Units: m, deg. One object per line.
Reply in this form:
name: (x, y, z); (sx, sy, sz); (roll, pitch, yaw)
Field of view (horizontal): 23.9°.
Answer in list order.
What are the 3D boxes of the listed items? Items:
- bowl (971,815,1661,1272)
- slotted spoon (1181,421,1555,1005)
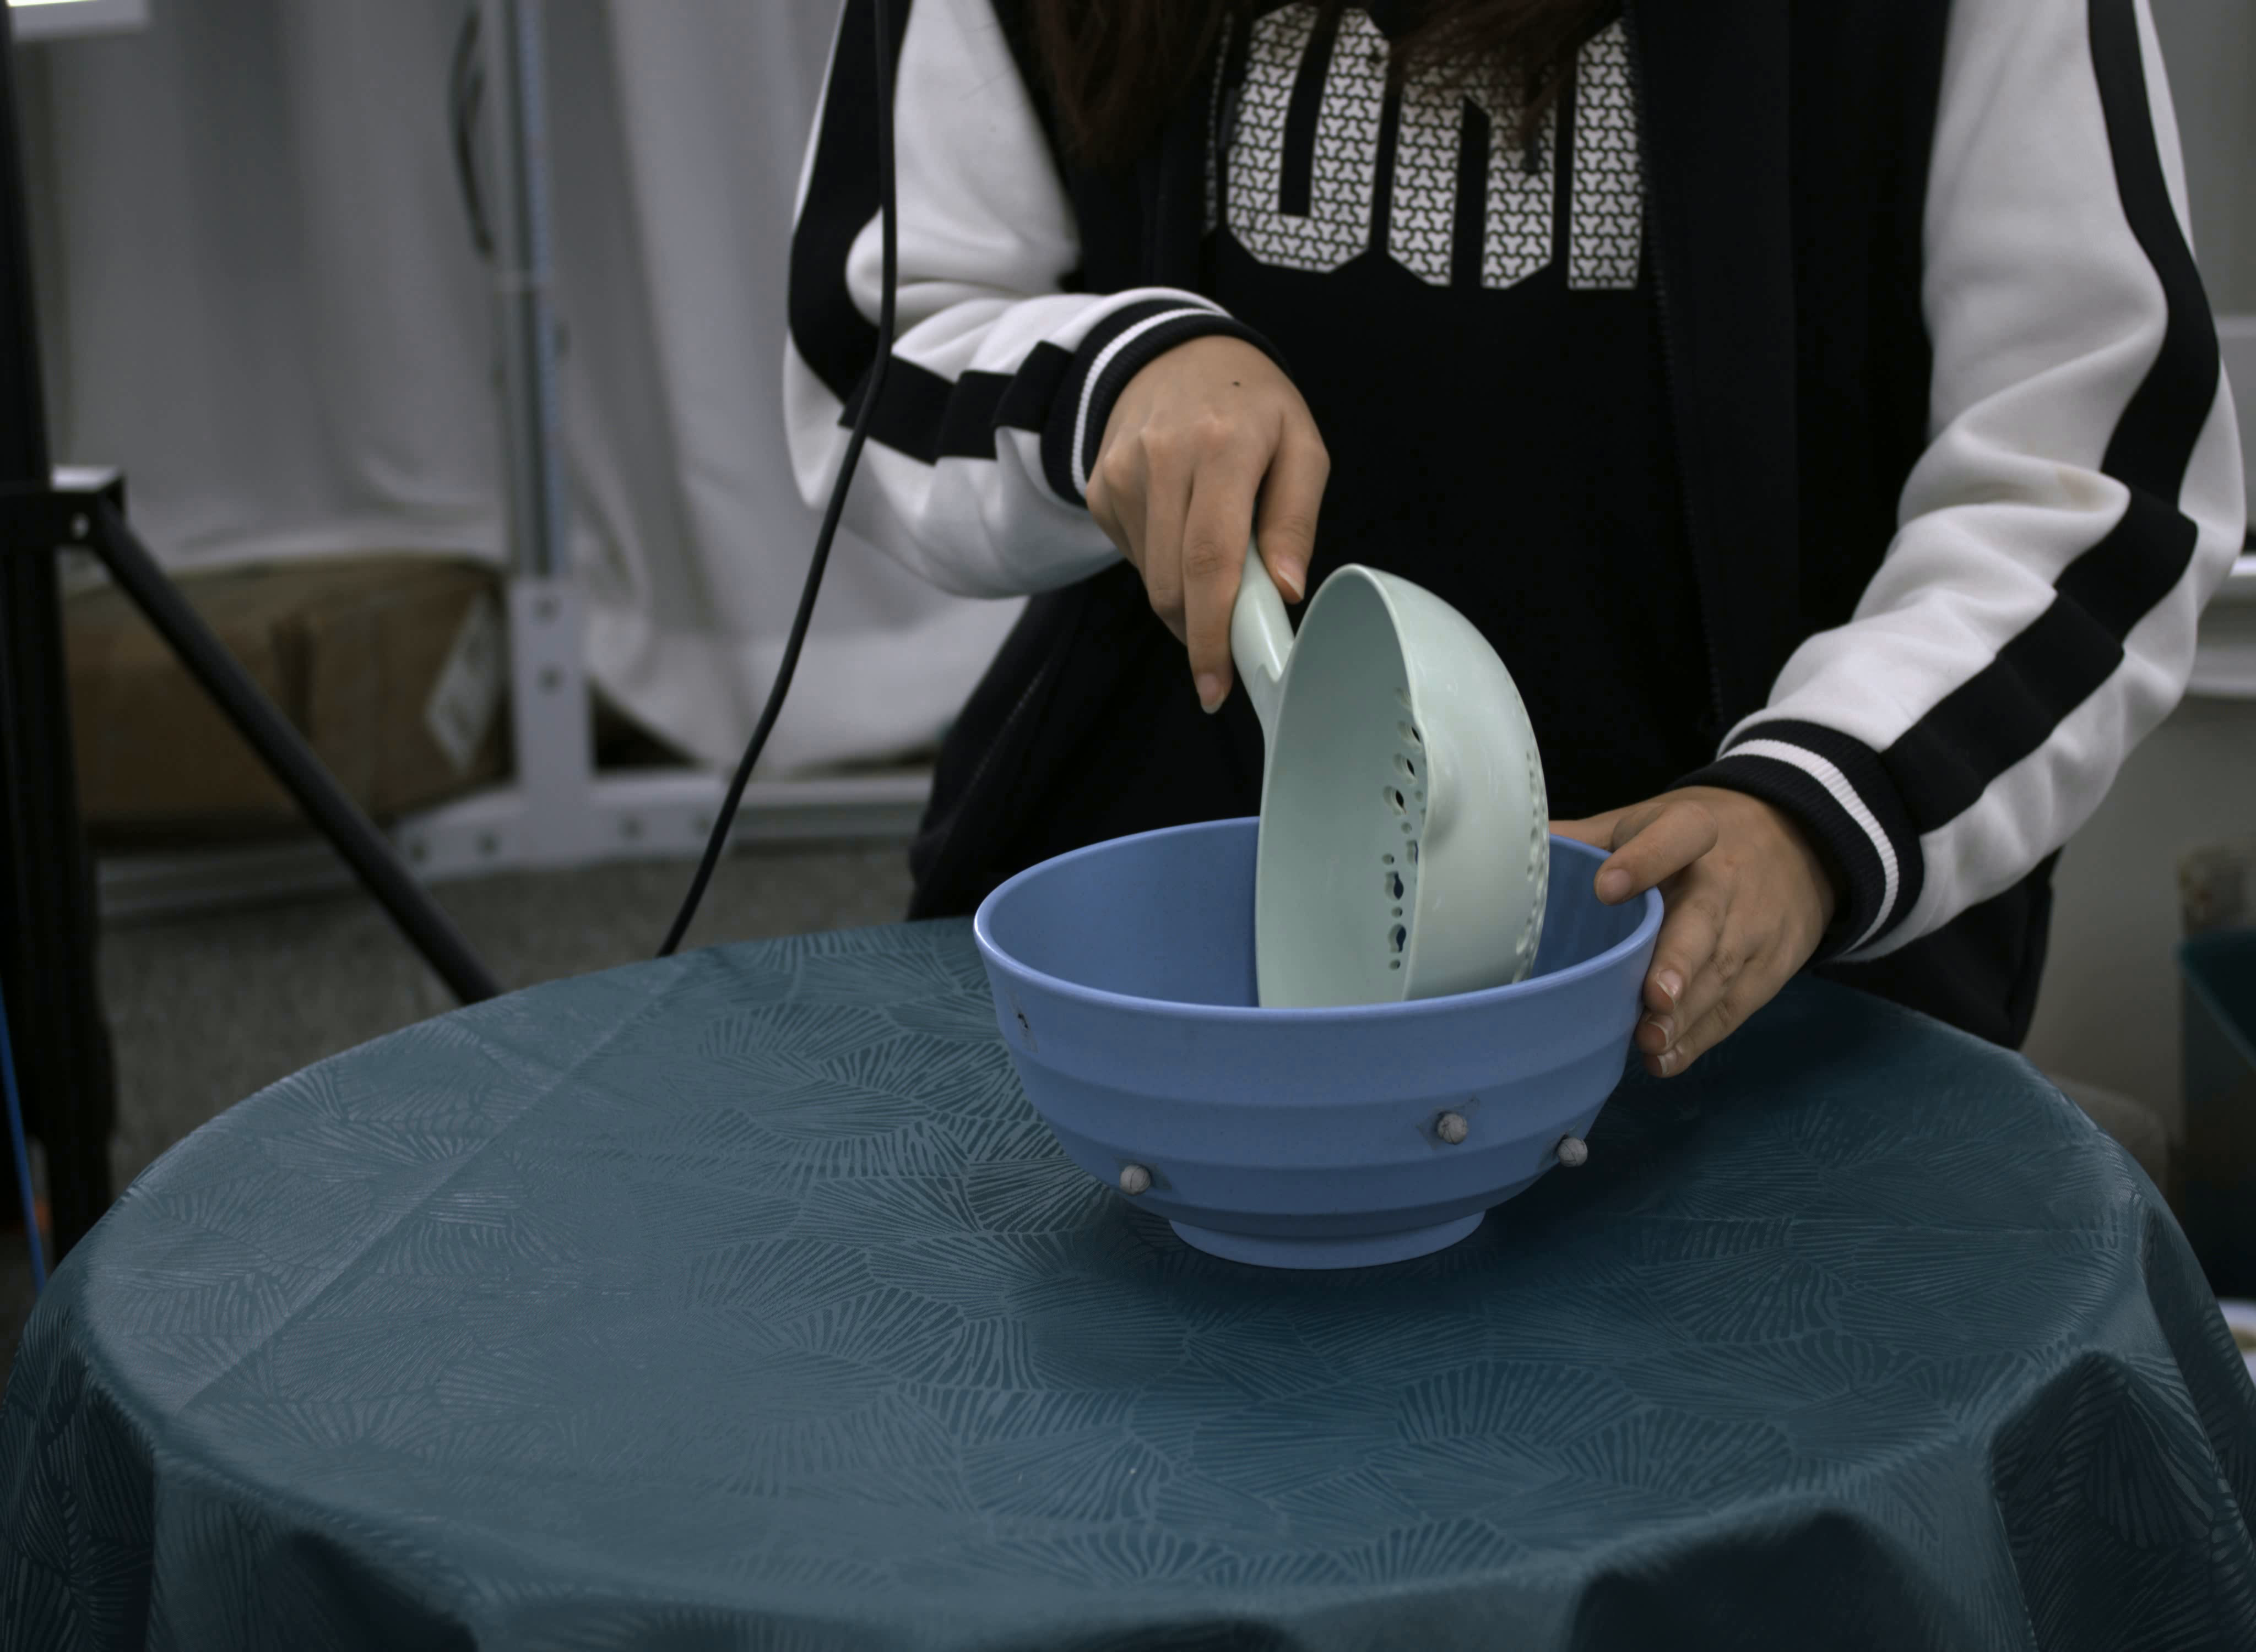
bowl: (0.055, 0.067, 1.517); (0.195, 0.095, 0.197); (-3, 16, -1)
slotted spoon: (0.056, -0.039, 1.596); (0.074, 0.169, 0.365); (1, 29, -20)
